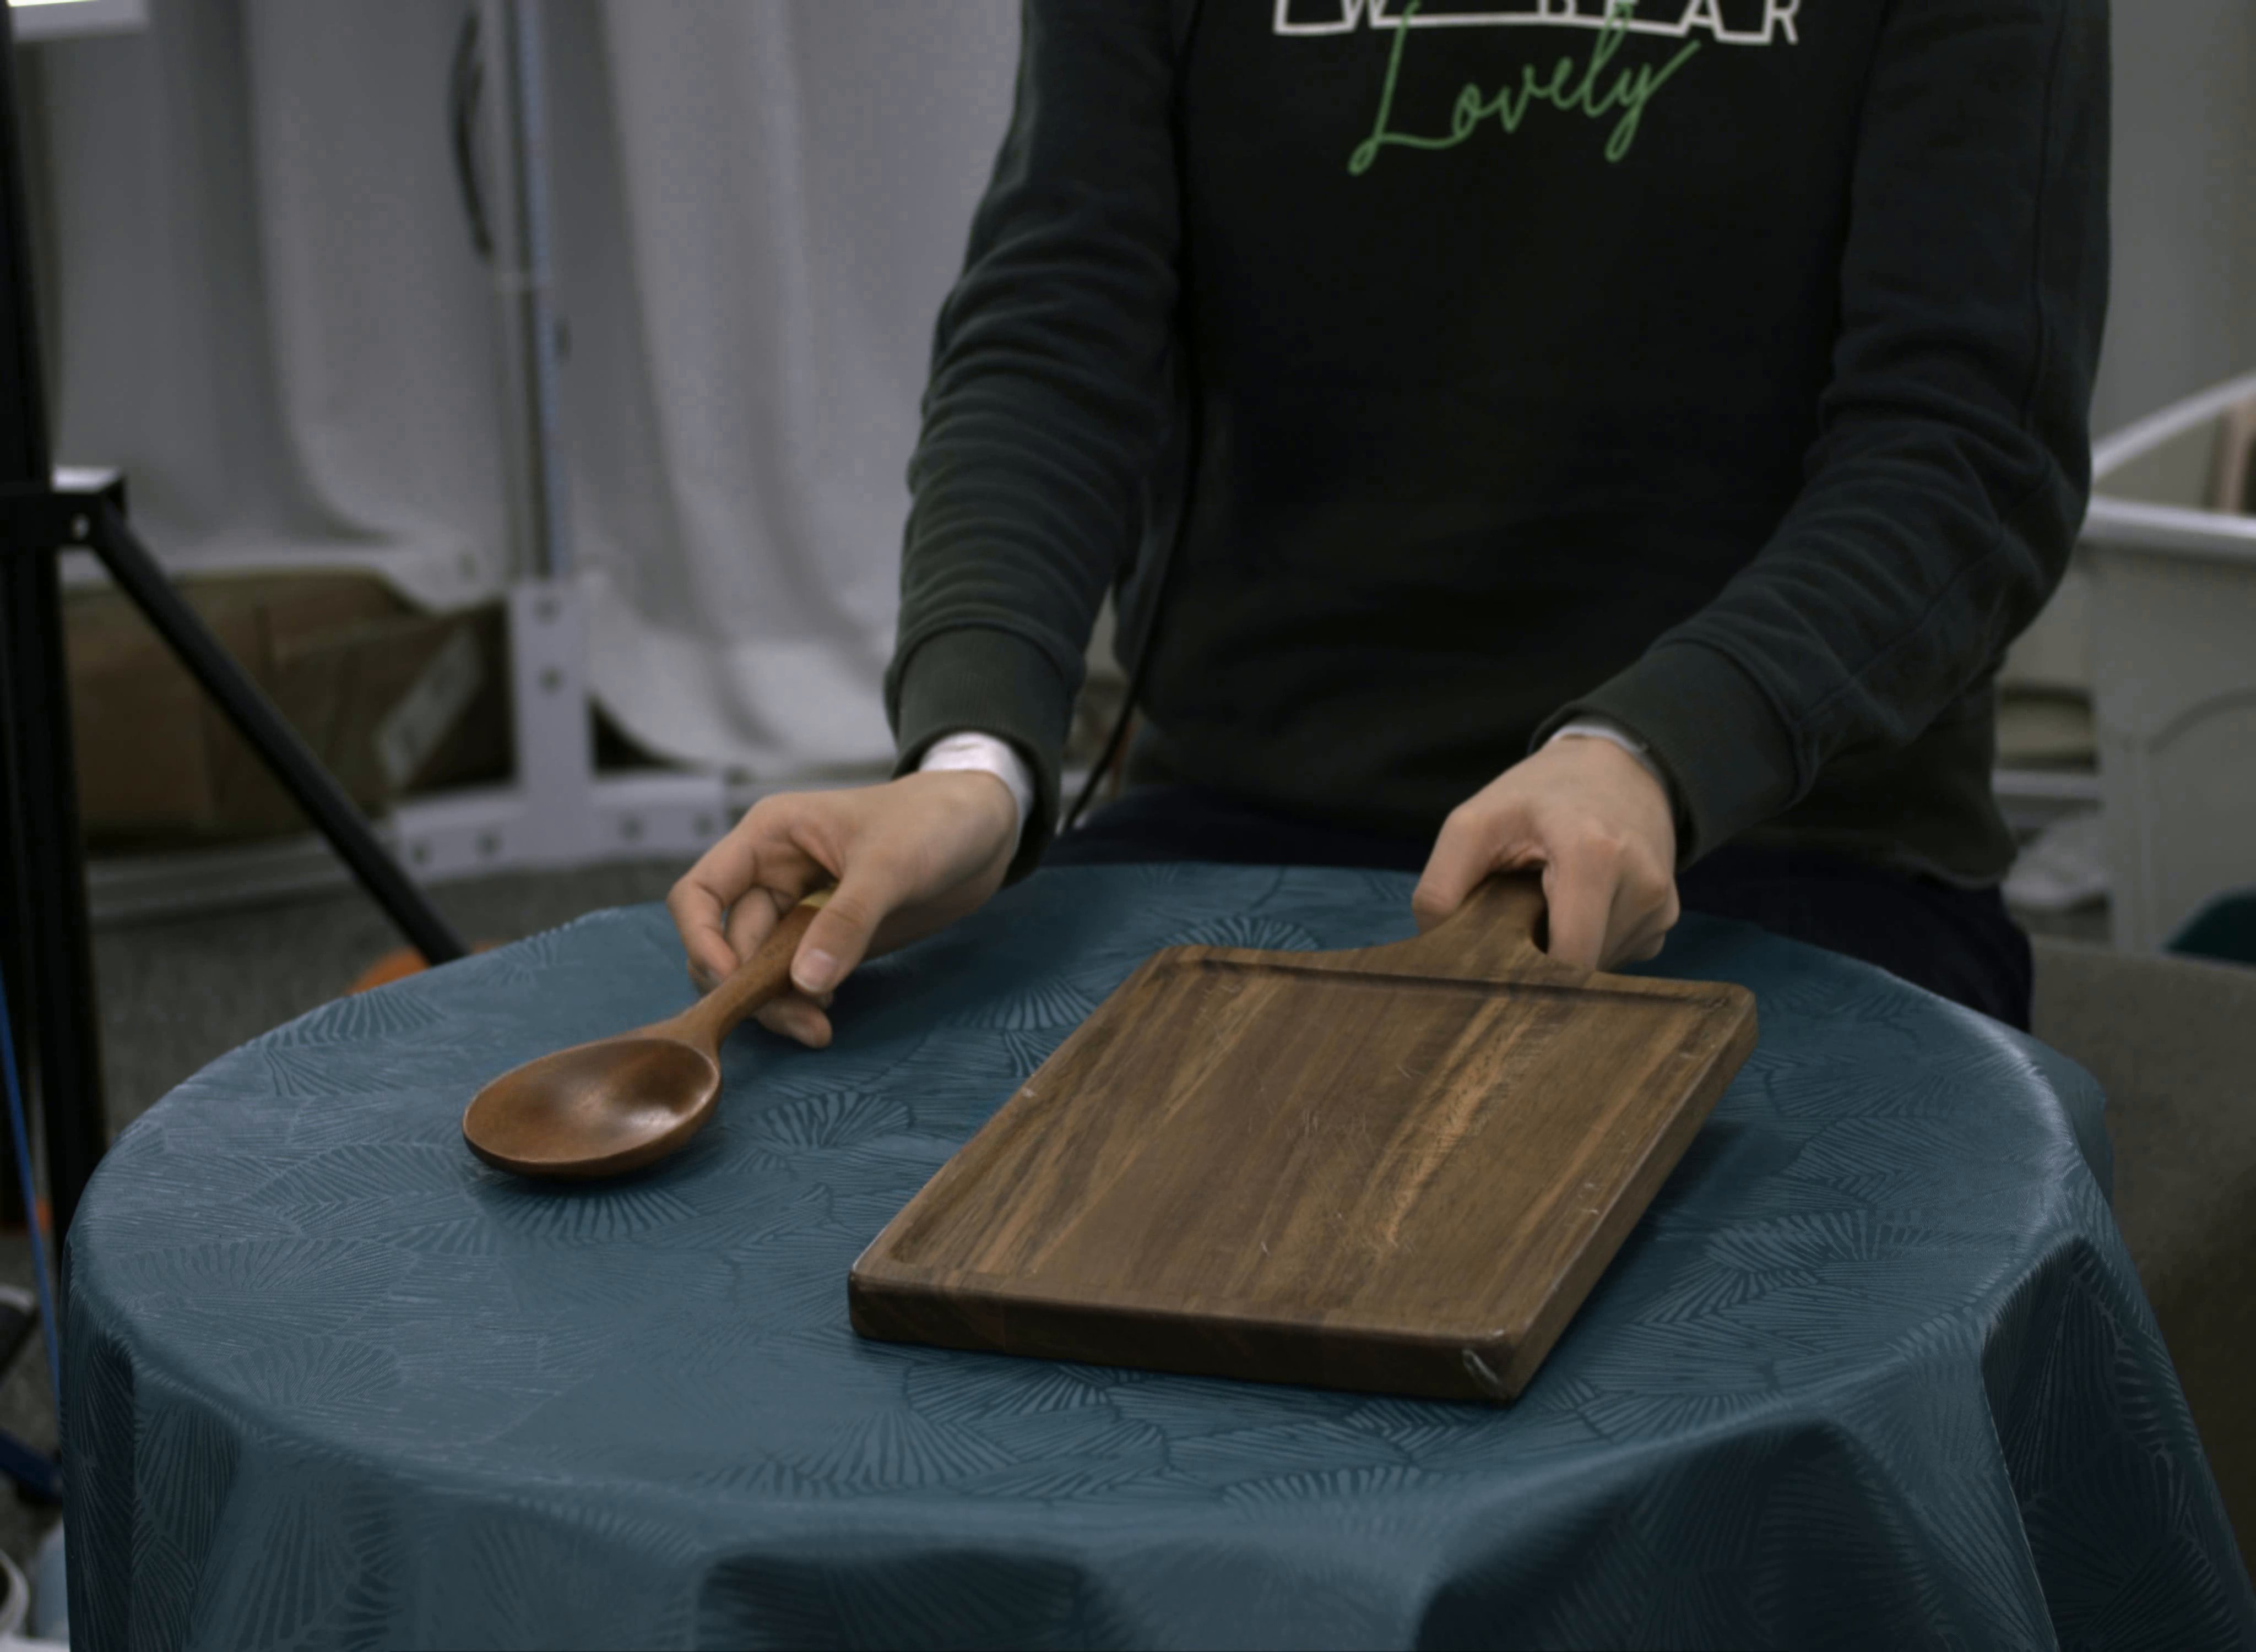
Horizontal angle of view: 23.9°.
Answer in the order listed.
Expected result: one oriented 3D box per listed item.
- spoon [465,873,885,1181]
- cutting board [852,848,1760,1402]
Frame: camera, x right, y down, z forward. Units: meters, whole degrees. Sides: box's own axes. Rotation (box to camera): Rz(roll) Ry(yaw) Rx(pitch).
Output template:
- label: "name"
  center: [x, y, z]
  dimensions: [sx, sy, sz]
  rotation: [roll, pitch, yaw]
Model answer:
- label: "spoon"
  center: [-0.132, 0.064, 1.667]
  dimensions: [0.077, 0.017, 0.213]
  rotation: [3, 25, 27]
- label: "cutting board"
  center: [0.074, 0.078, 1.561]
  dimensions: [0.204, 0.023, 0.348]
  rotation: [2, 21, 23]
